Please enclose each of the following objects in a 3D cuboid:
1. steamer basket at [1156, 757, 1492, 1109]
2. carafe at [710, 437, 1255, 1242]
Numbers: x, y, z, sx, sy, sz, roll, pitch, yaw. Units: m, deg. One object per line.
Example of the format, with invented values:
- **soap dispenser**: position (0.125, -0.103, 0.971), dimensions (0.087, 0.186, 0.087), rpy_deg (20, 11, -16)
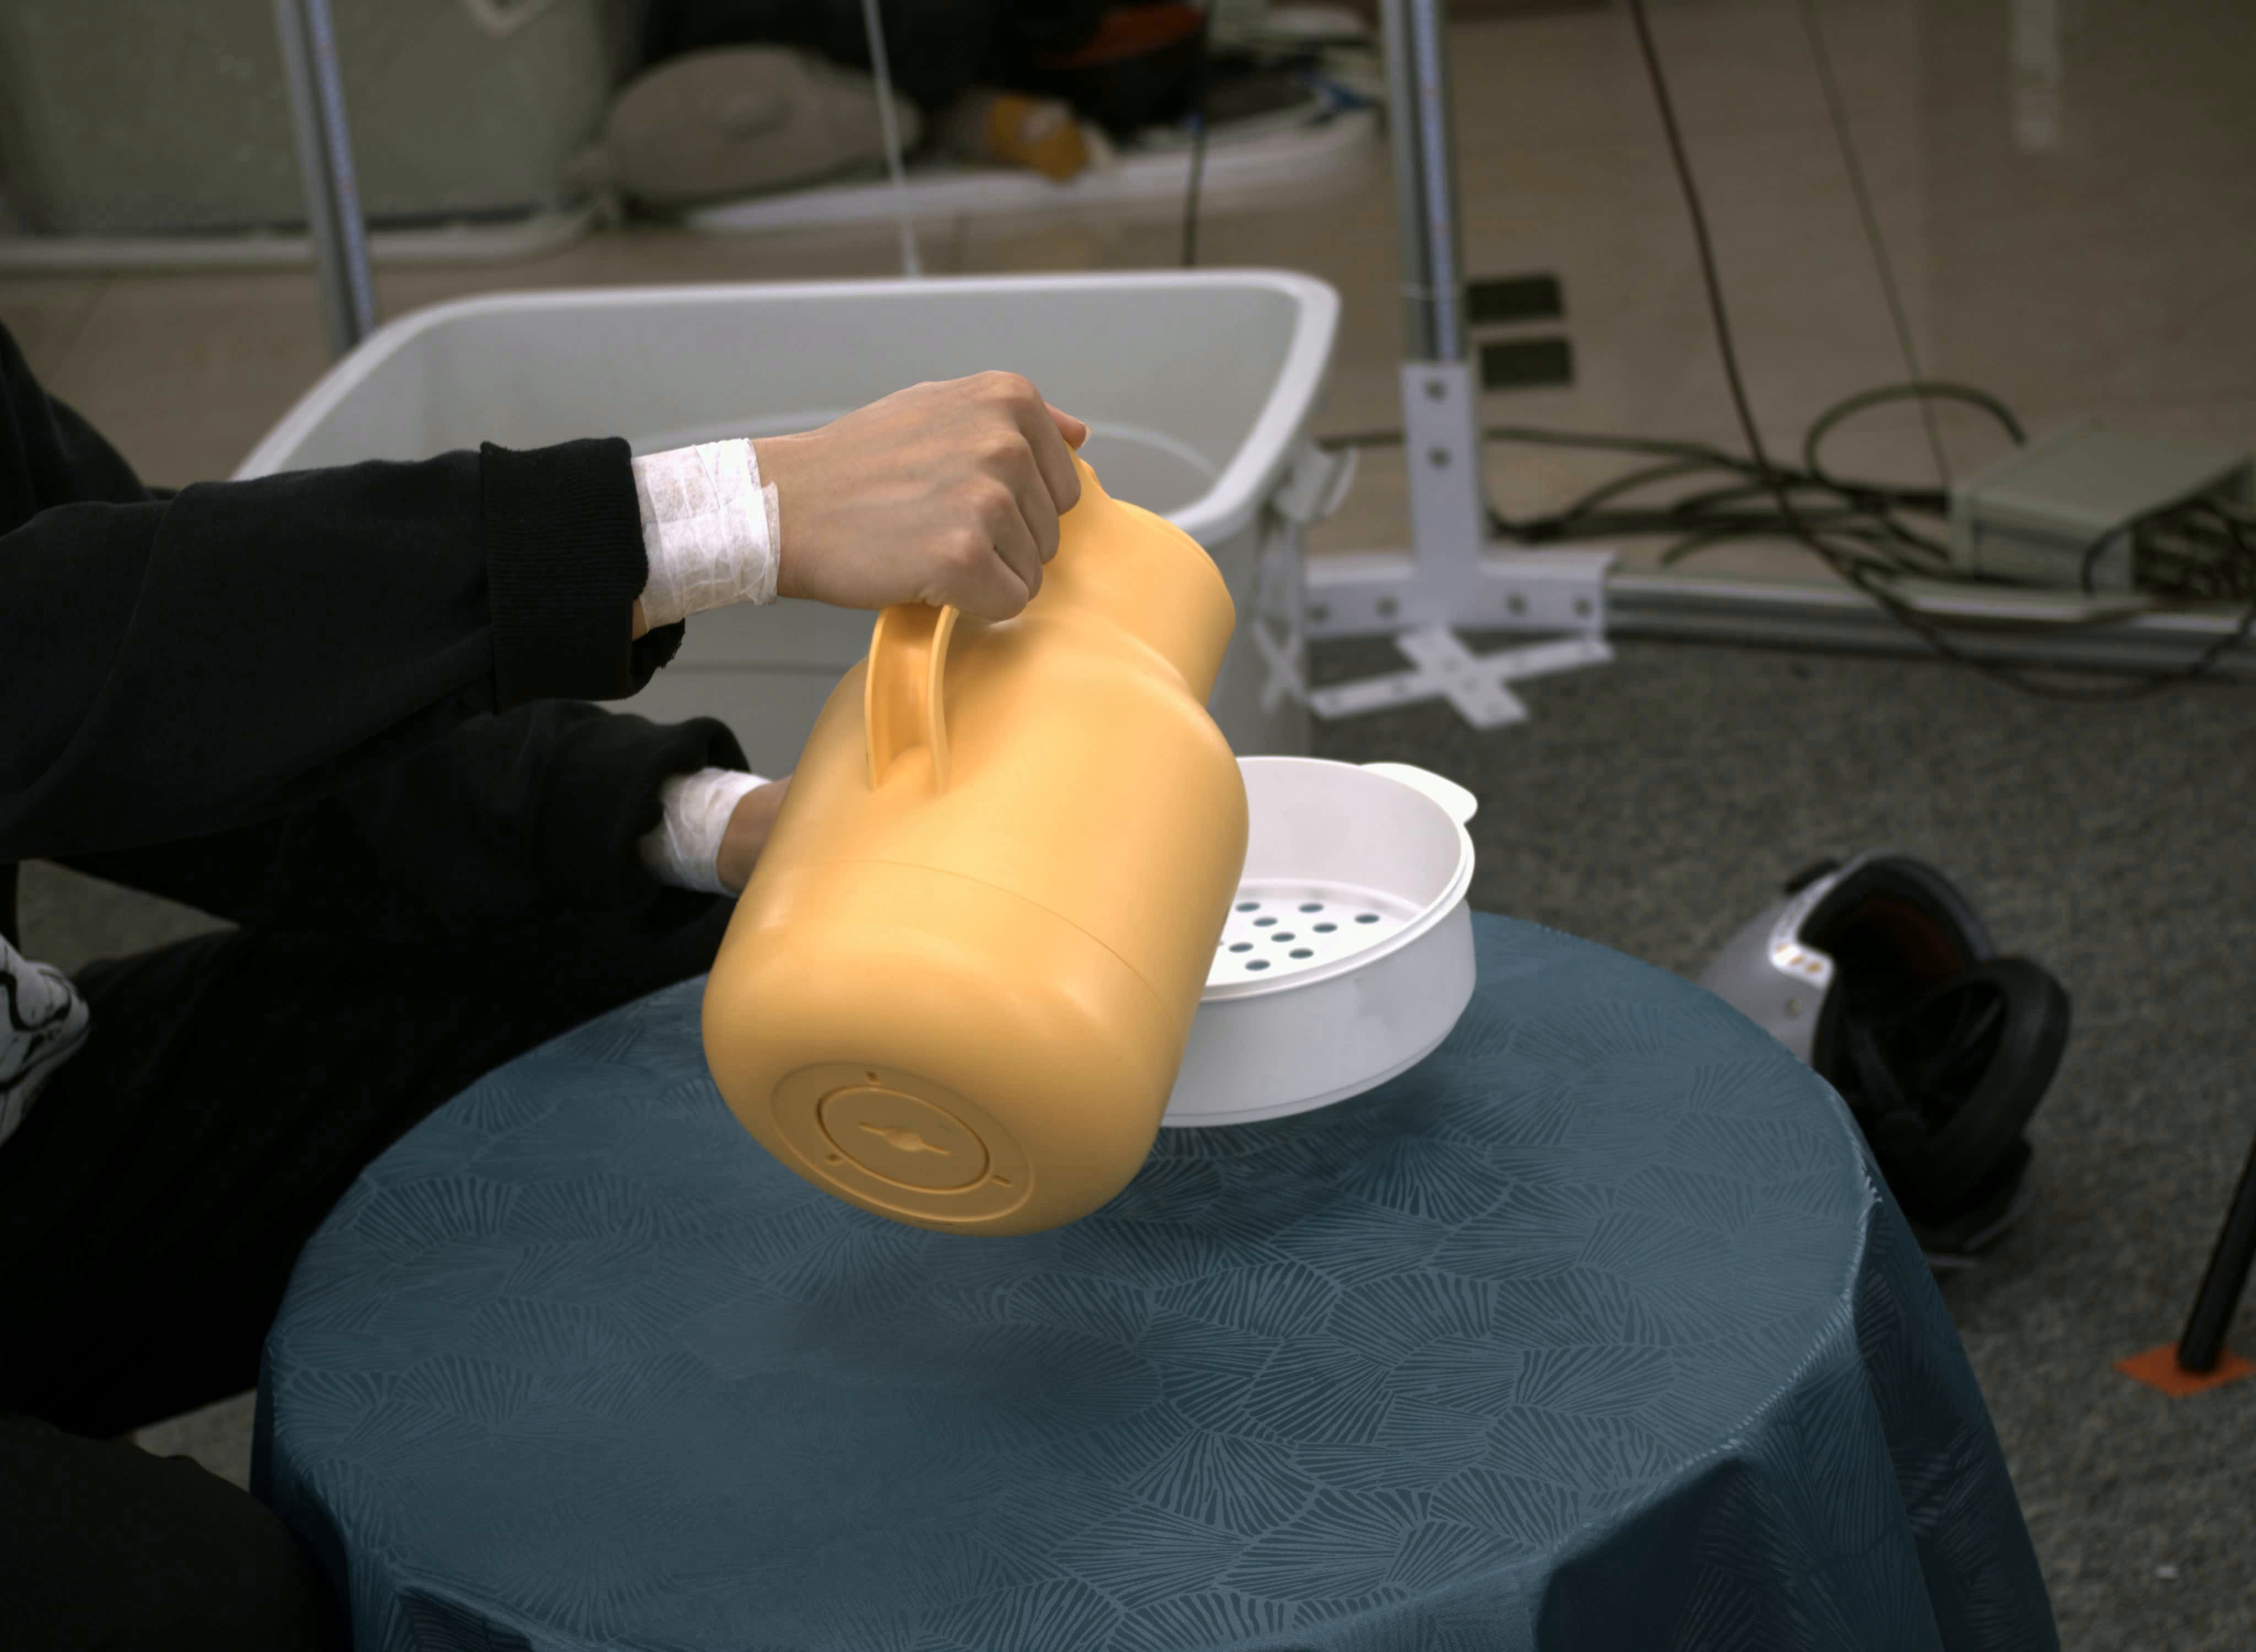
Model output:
- **steamer basket**: position (0.041, 0.042, 2.189), dimensions (0.229, 0.070, 0.200), rpy_deg (-20, 28, -30)
- **carafe**: position (-0.046, -0.005, 1.976), dimensions (0.163, 0.206, 0.256), rpy_deg (1, 54, 25)
